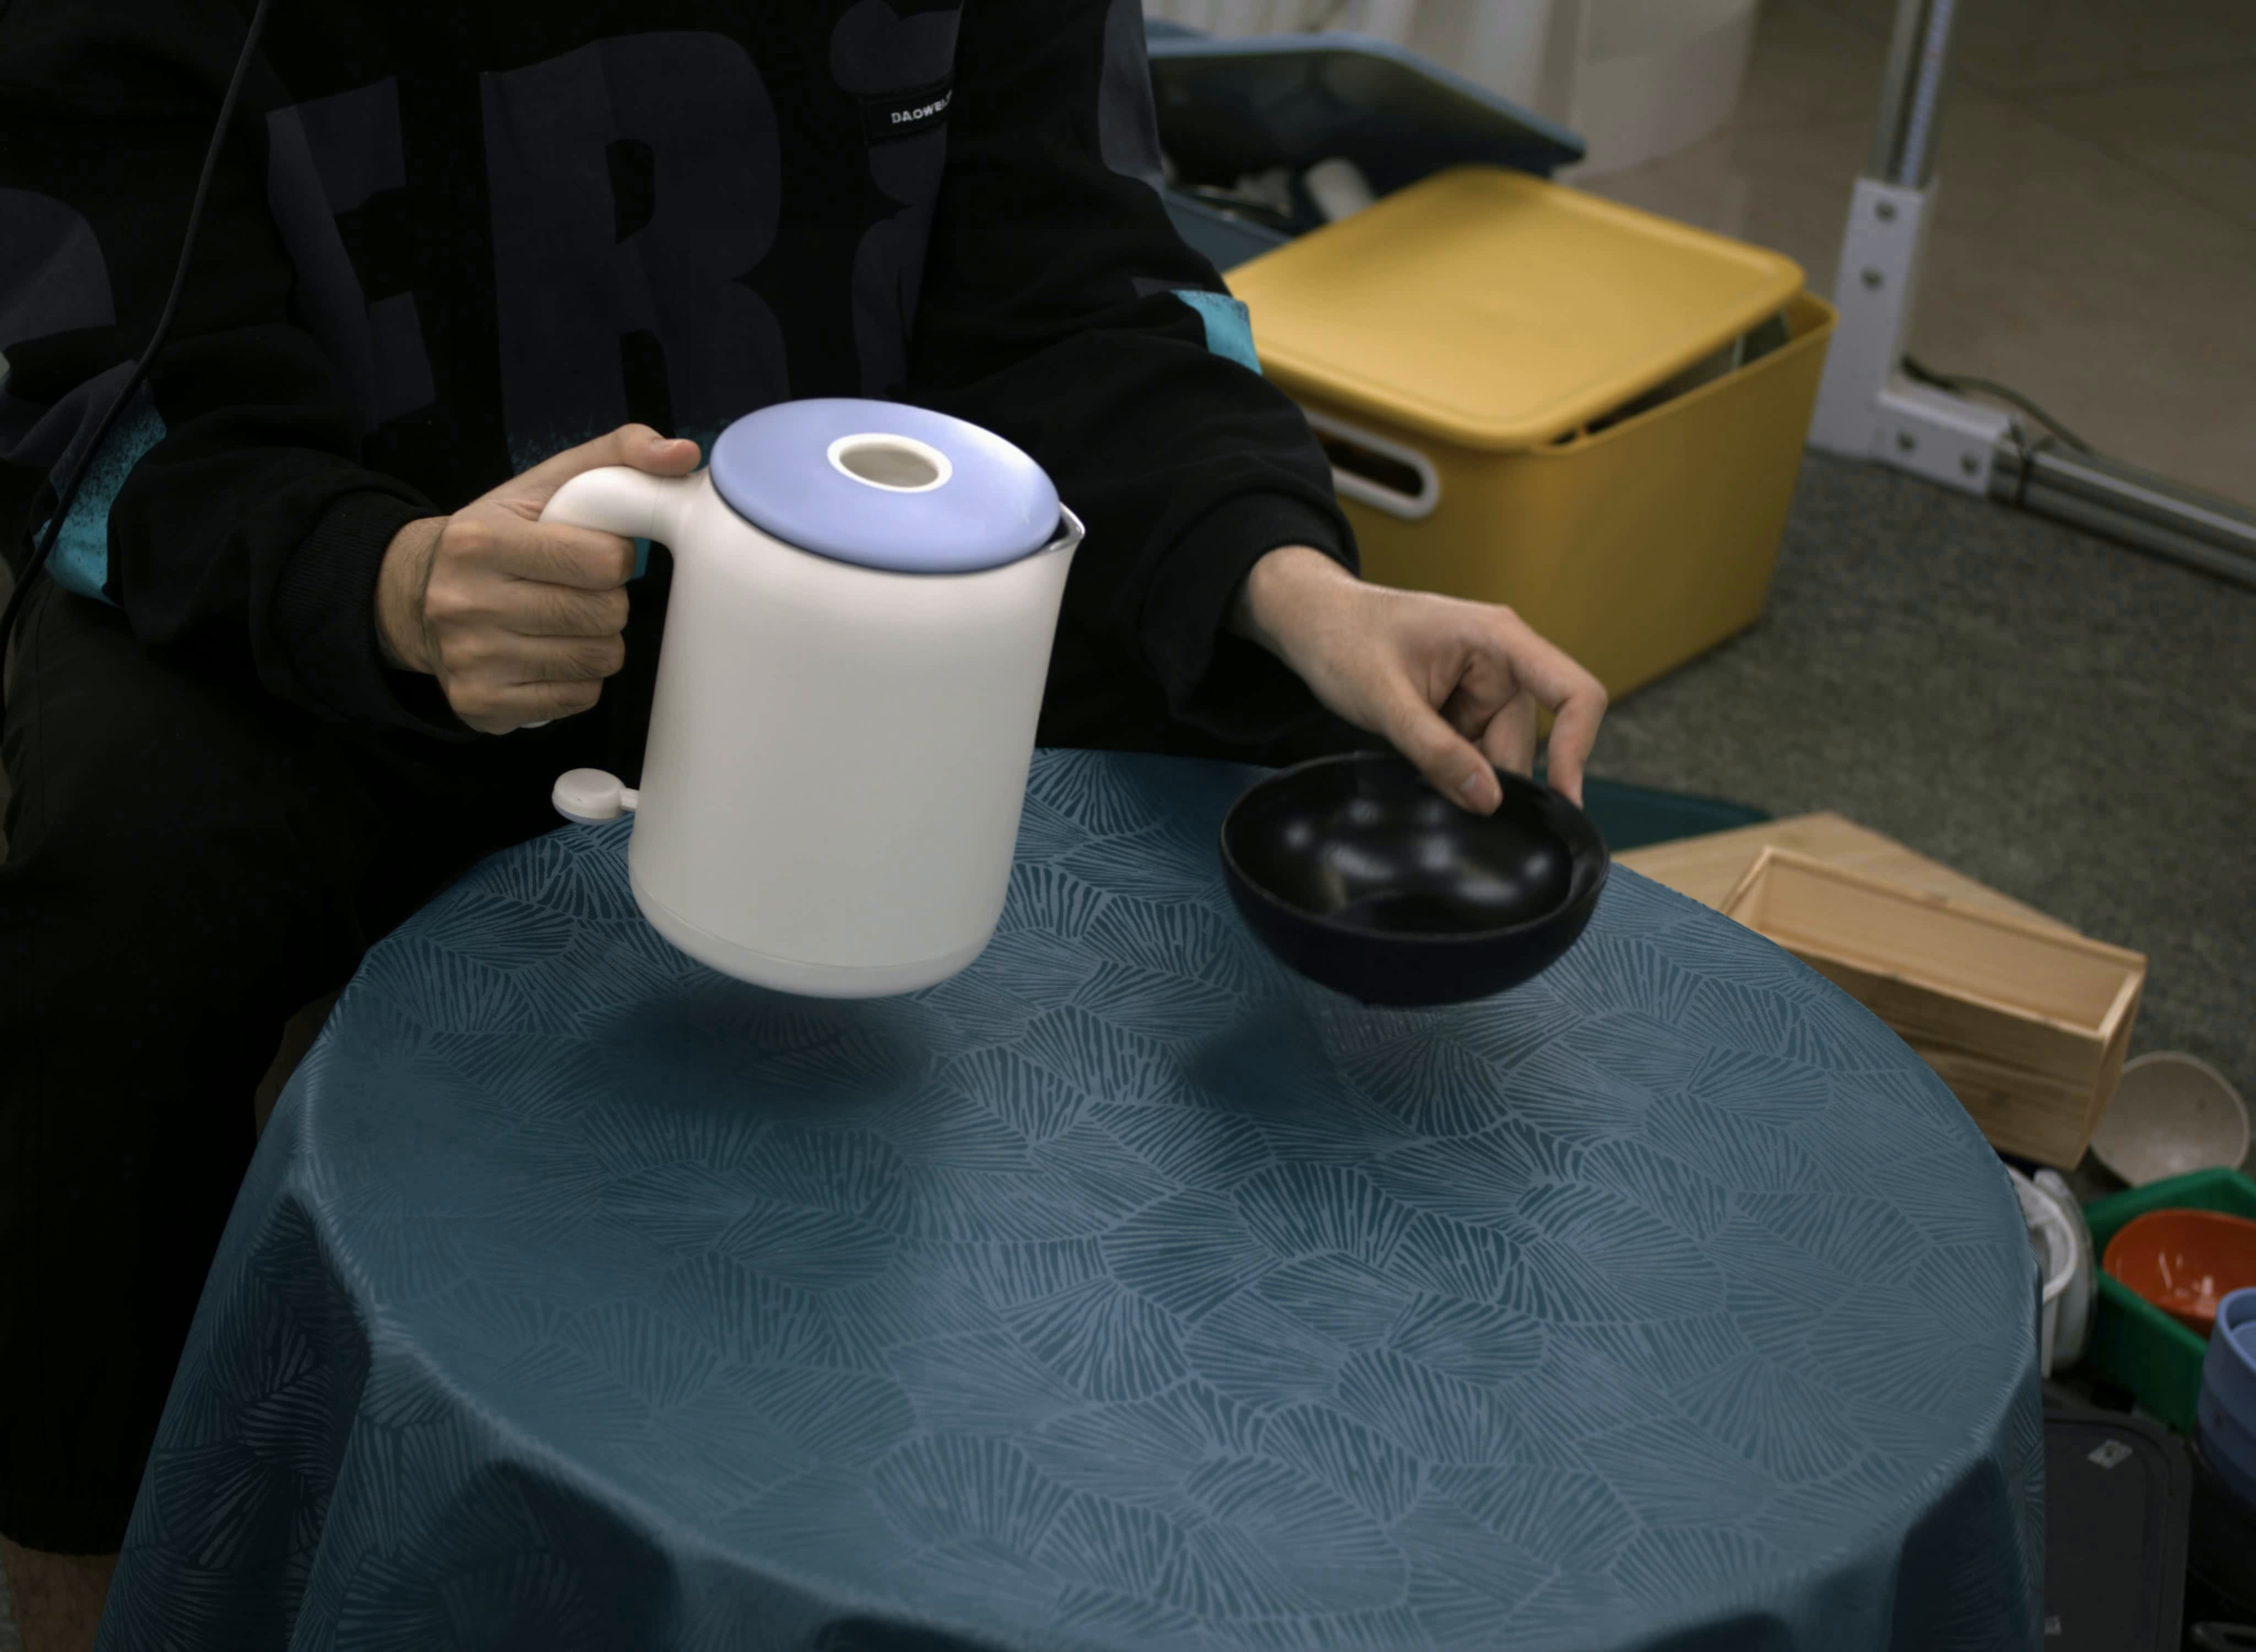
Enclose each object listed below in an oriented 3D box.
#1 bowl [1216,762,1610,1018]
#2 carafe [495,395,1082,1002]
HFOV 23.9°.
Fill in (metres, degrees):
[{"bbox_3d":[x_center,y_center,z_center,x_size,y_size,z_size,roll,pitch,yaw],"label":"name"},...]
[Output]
[{"bbox_3d":[0.100,0.030,1.883,0.139,0.049,0.141,0,27,-1],"label":"bowl"},{"bbox_3d":[-0.119,-0.048,1.807,0.190,0.182,0.133,9,27,2],"label":"carafe"}]
